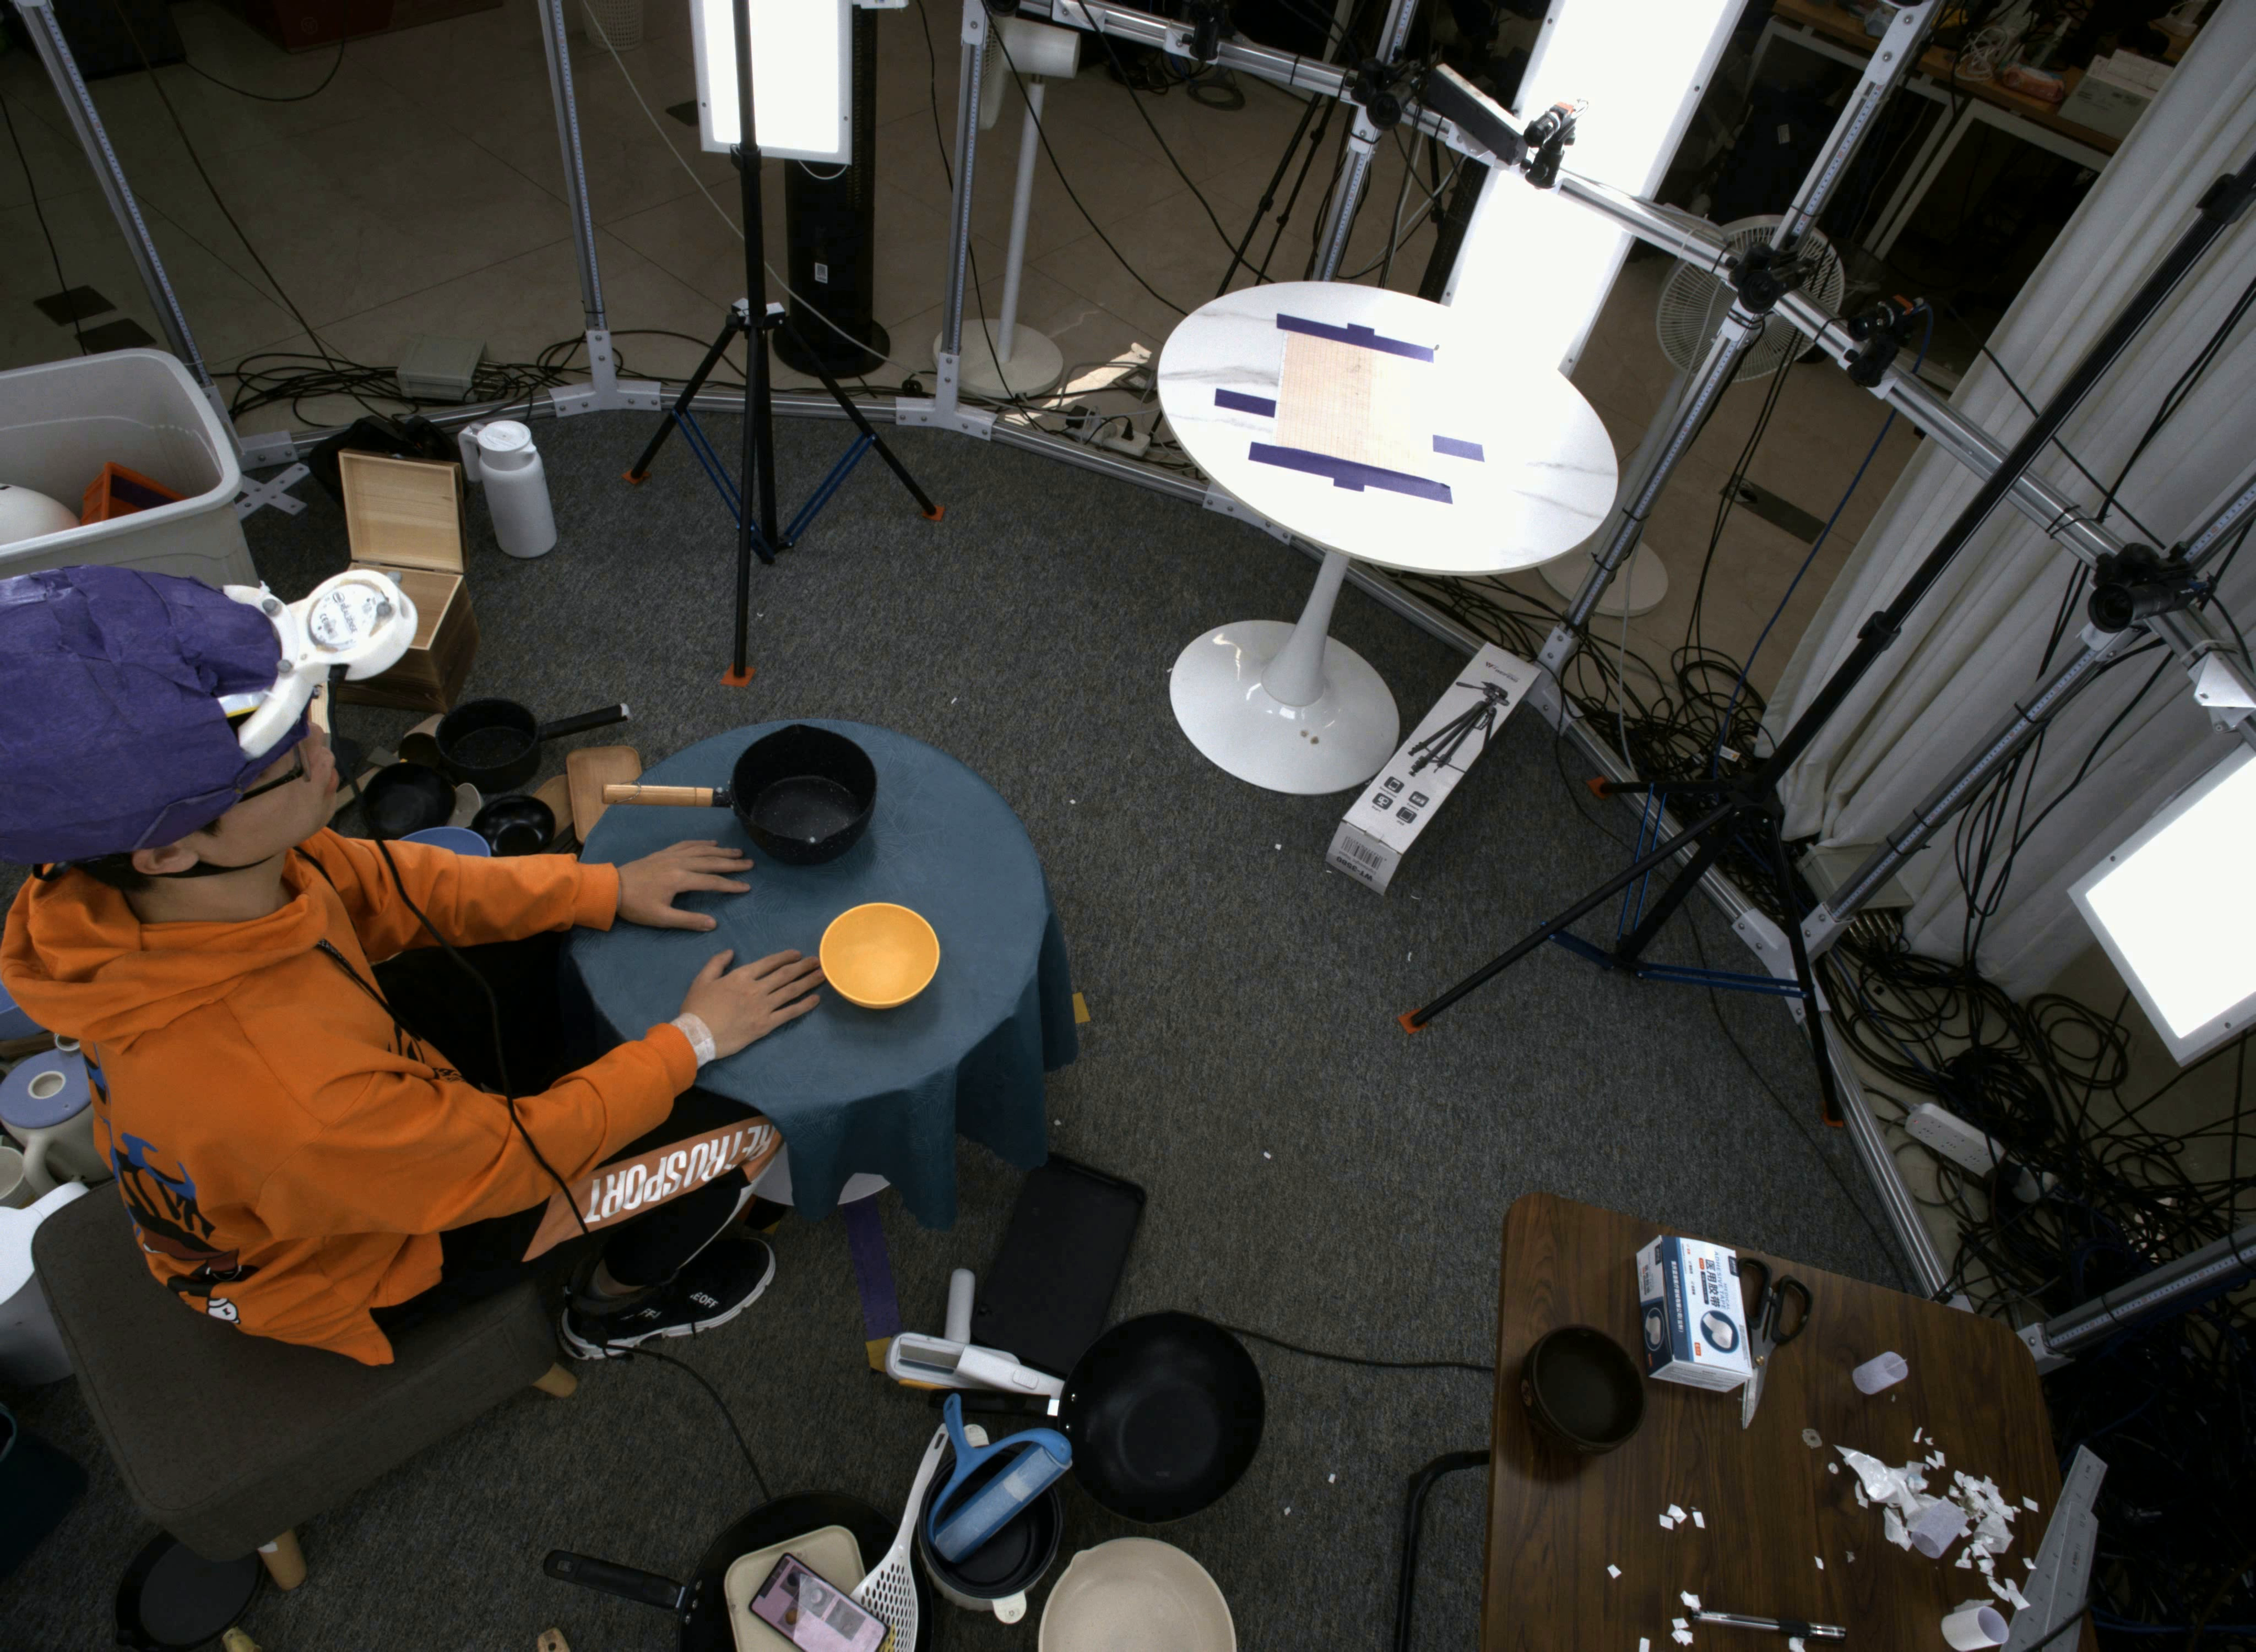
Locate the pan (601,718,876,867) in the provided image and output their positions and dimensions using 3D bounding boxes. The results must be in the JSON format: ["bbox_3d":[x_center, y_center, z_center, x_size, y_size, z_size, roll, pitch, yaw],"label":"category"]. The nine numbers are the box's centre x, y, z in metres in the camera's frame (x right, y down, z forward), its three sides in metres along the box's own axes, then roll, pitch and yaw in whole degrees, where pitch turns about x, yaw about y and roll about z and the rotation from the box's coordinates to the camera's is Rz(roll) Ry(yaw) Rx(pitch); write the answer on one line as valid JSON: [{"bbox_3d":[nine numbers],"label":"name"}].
[{"bbox_3d":[-0.495,-0.032,1.649,0.345,0.110,0.203,-7,57,-21],"label":"pan"}]

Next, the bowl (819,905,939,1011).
[{"bbox_3d":[-0.302,0.169,1.582,0.145,0.061,0.142,7,51,-8],"label":"bowl"}]
